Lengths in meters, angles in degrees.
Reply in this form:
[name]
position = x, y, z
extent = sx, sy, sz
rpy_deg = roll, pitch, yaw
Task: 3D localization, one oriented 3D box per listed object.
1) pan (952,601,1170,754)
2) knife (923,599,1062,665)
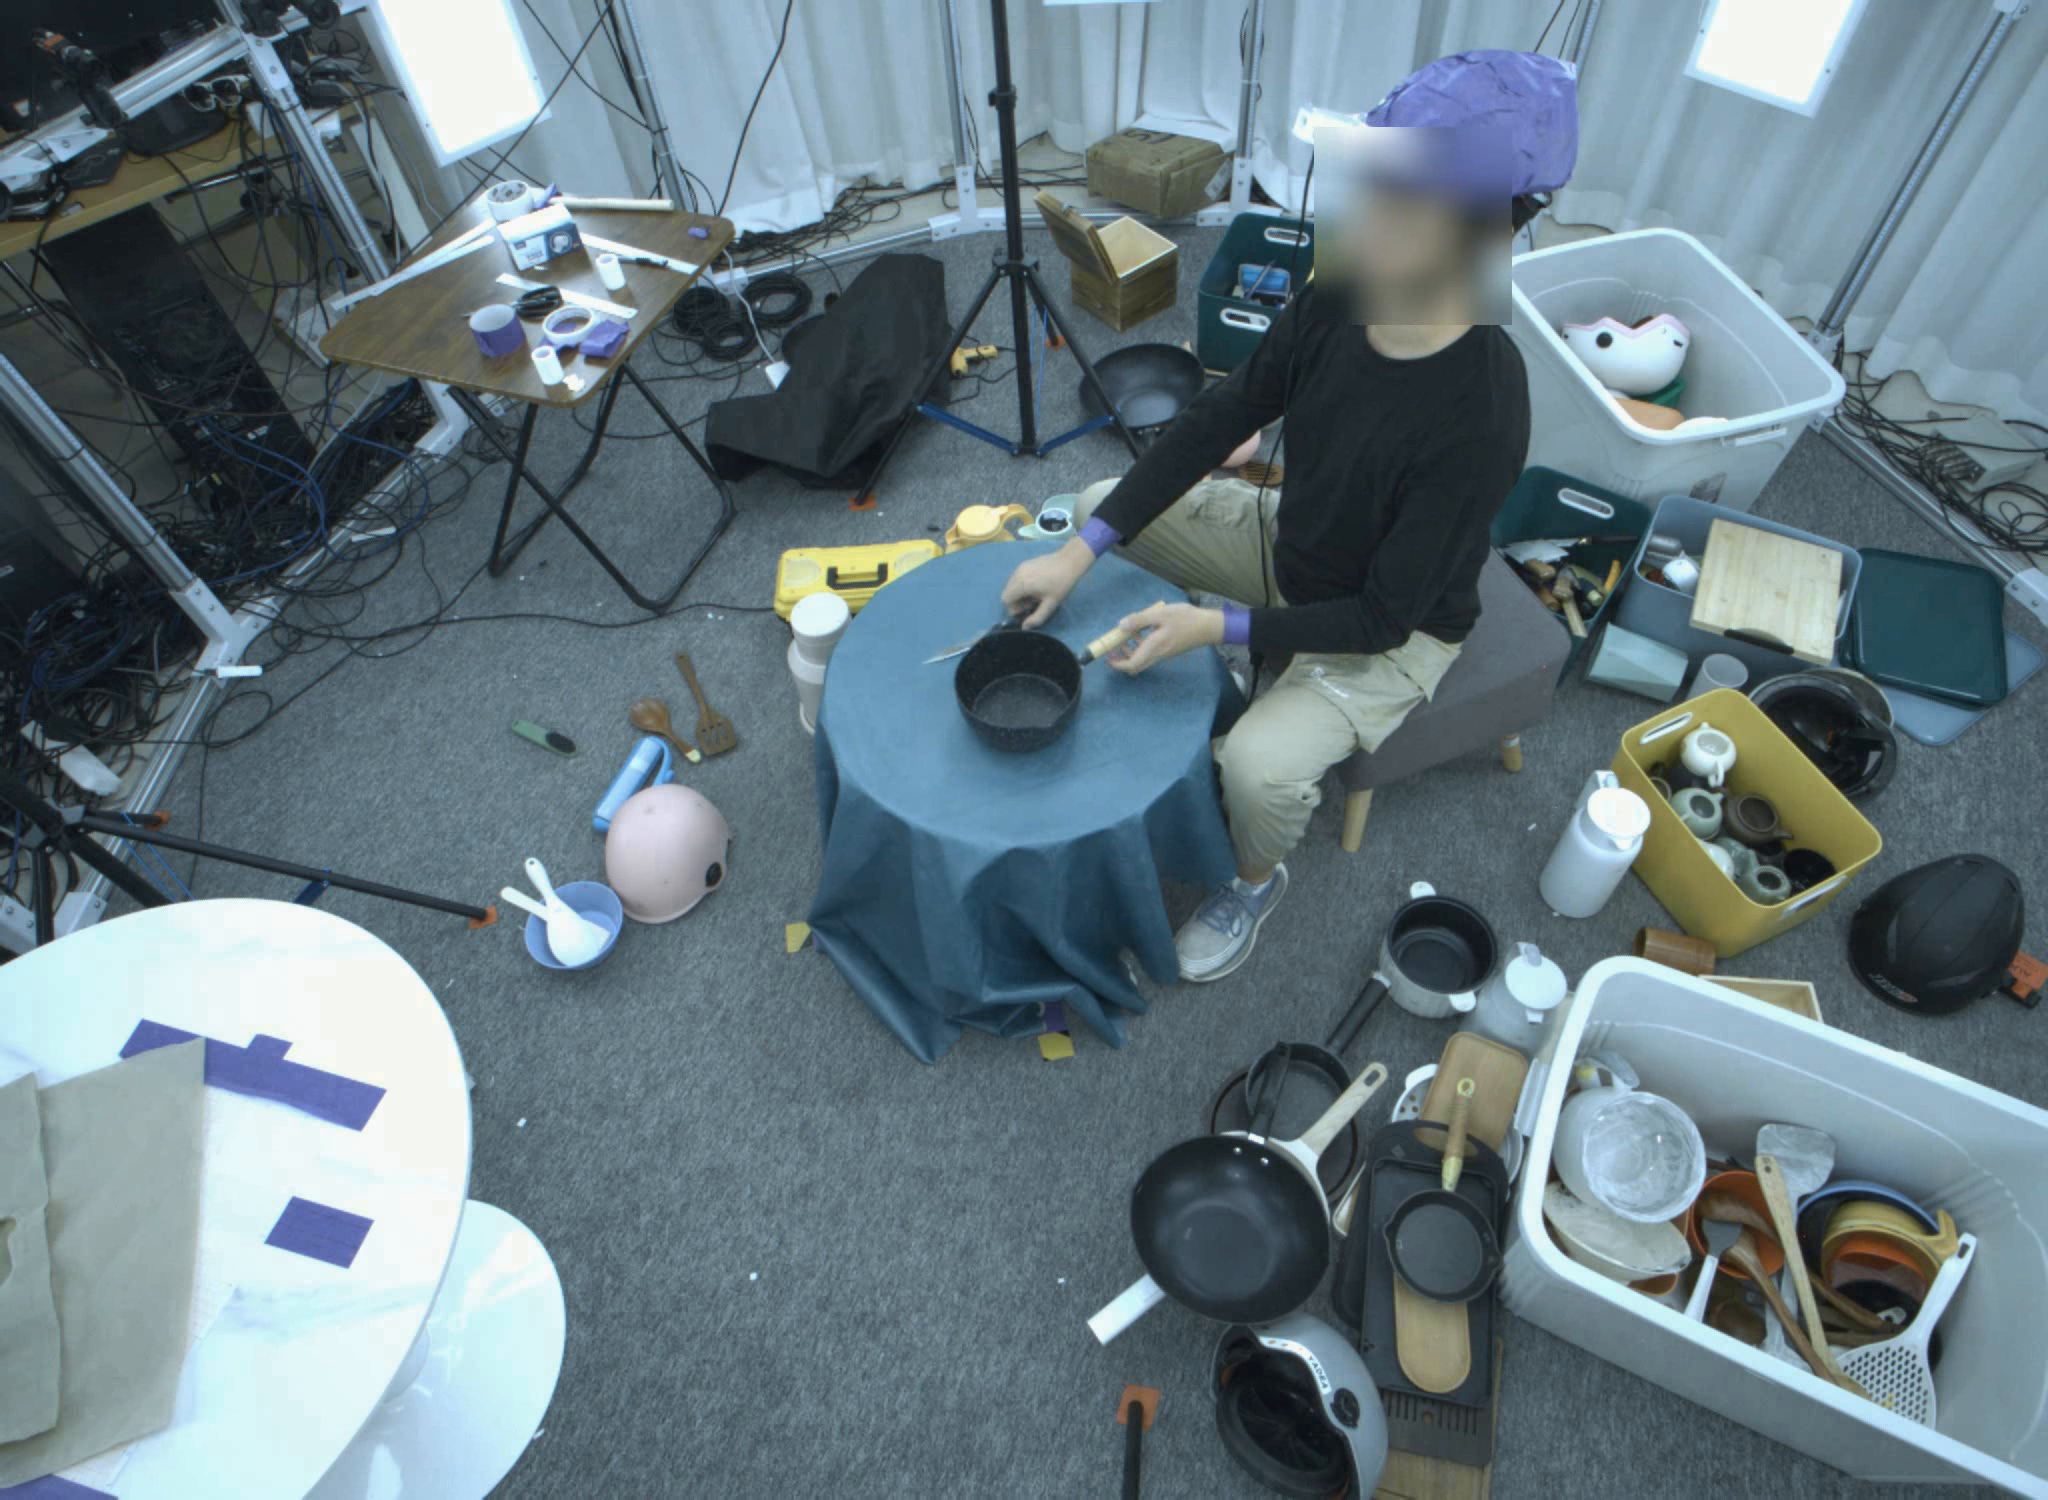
[pan]
position = 0.061, -0.119, 1.801
extent = 0.345, 0.109, 0.203
rpy_deg = -25, 57, -14
[knife]
position = -0.051, -0.183, 1.907
extent = 0.239, 0.016, 0.024
rpy_deg = -25, 54, -11
